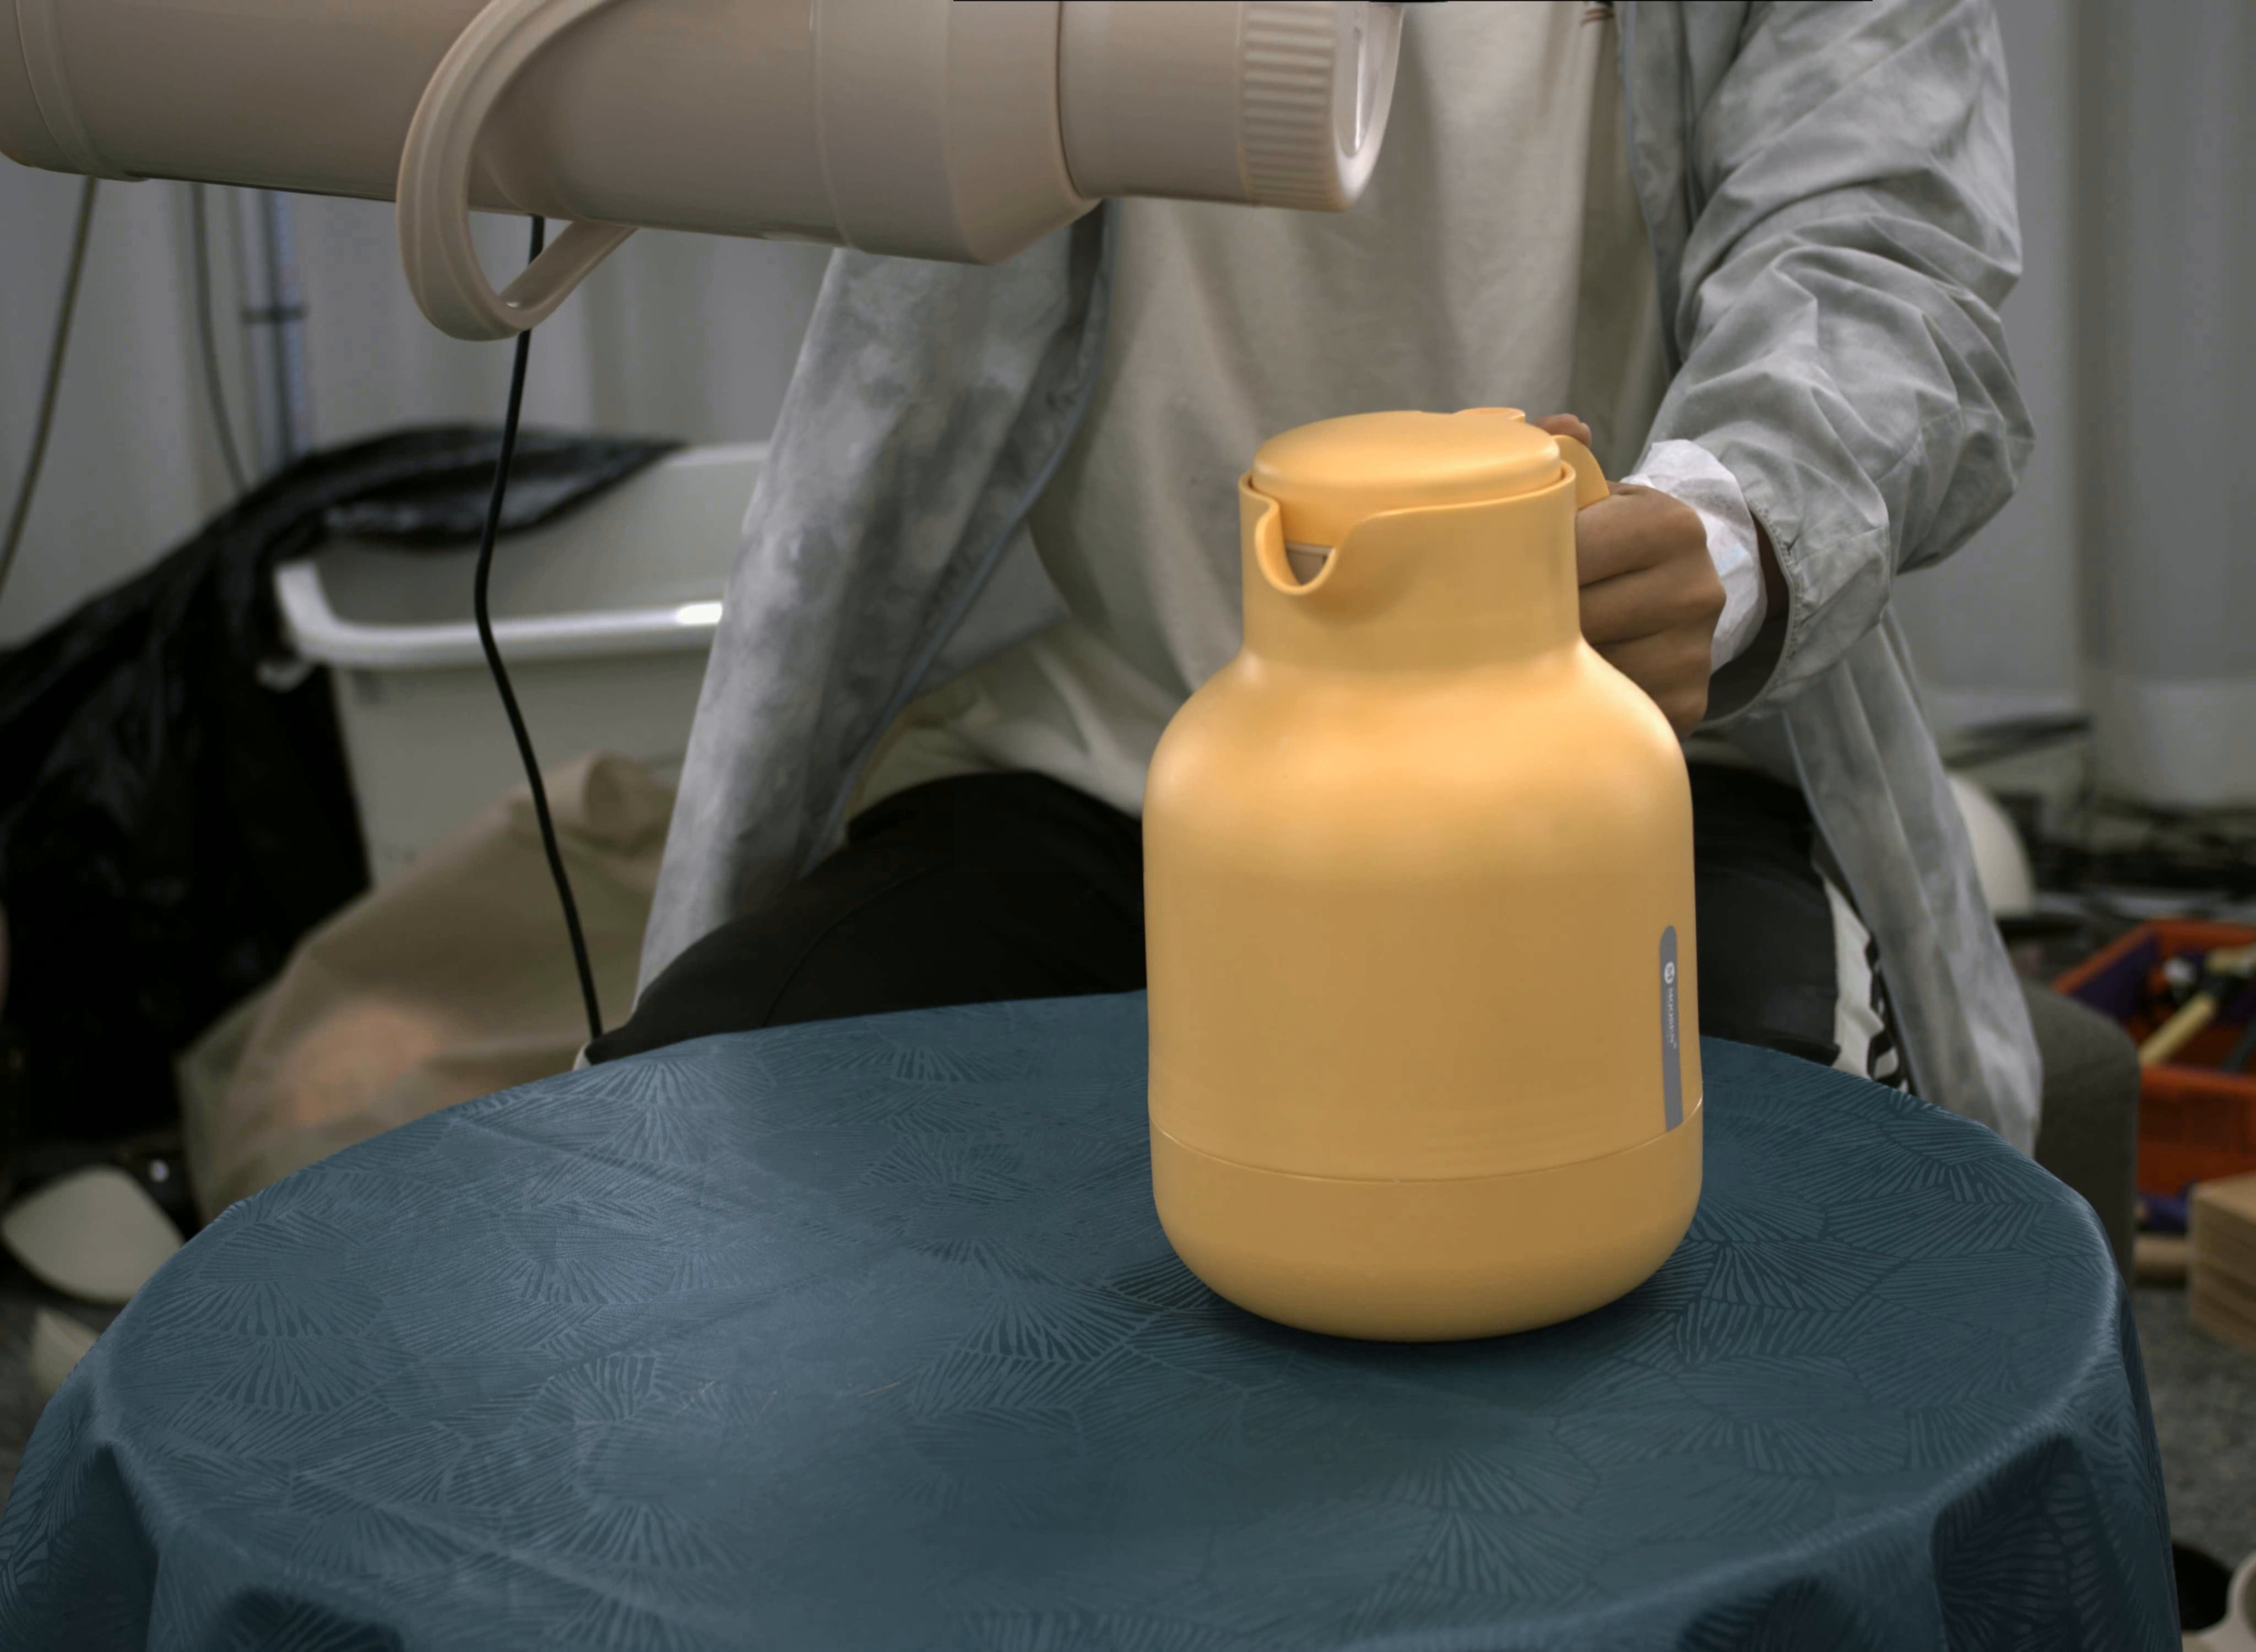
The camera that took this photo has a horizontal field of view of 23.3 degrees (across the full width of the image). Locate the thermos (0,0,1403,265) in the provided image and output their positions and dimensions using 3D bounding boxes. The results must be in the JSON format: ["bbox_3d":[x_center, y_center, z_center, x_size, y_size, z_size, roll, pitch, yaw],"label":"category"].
[{"bbox_3d":[-0.123,-0.264,1.599,0.406,0.208,0.174,7,-9,14],"label":"thermos"}]

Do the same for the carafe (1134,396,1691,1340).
[{"bbox_3d":[0.093,0.004,1.611,0.164,0.259,0.202,9,19,30],"label":"carafe"}]
